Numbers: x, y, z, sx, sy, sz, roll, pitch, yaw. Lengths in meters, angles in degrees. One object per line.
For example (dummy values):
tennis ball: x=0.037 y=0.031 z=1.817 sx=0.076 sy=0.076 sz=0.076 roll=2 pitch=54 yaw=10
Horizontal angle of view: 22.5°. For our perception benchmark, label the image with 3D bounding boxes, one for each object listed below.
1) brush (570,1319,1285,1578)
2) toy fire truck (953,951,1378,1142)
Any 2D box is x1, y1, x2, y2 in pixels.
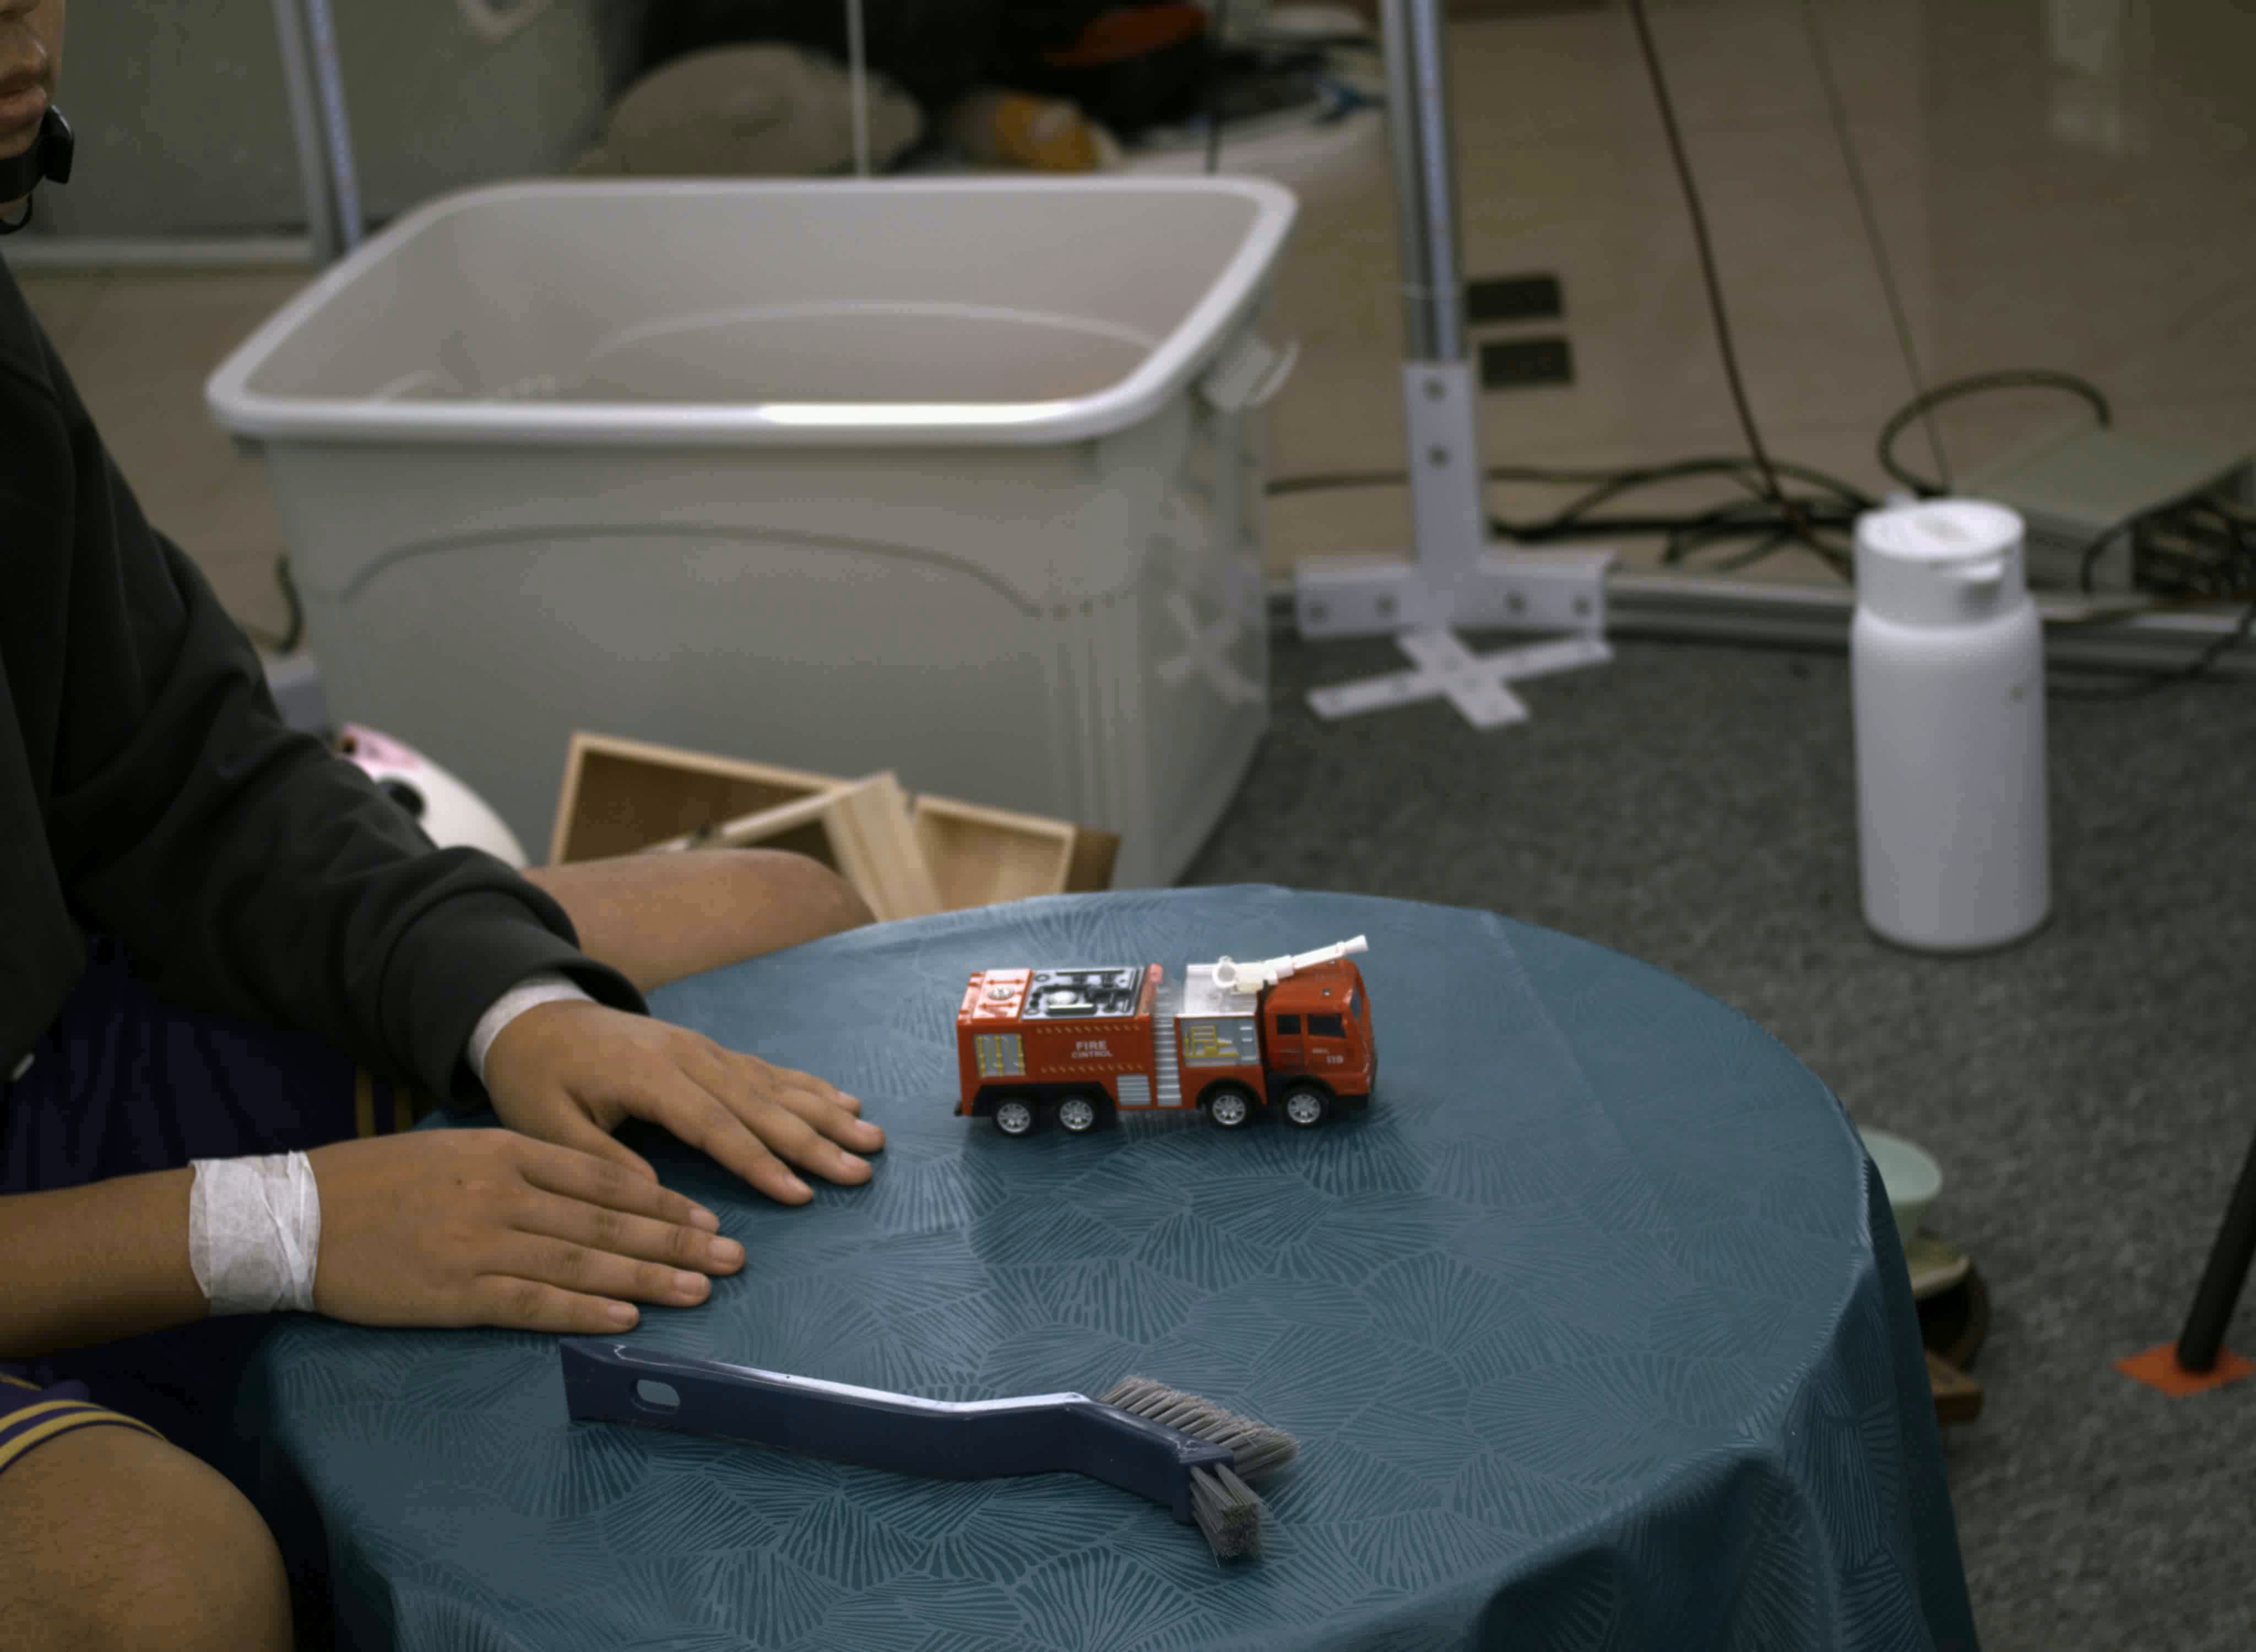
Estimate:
brush: x=-0.079 y=0.212 z=1.972 sx=0.272 sy=0.034 sz=0.094 roll=3 pitch=28 yaw=19
toy fire truck: x=0.015 y=0.083 z=2.192 sx=0.167 sy=0.071 sz=0.053 roll=-3 pitch=26 yaw=9
